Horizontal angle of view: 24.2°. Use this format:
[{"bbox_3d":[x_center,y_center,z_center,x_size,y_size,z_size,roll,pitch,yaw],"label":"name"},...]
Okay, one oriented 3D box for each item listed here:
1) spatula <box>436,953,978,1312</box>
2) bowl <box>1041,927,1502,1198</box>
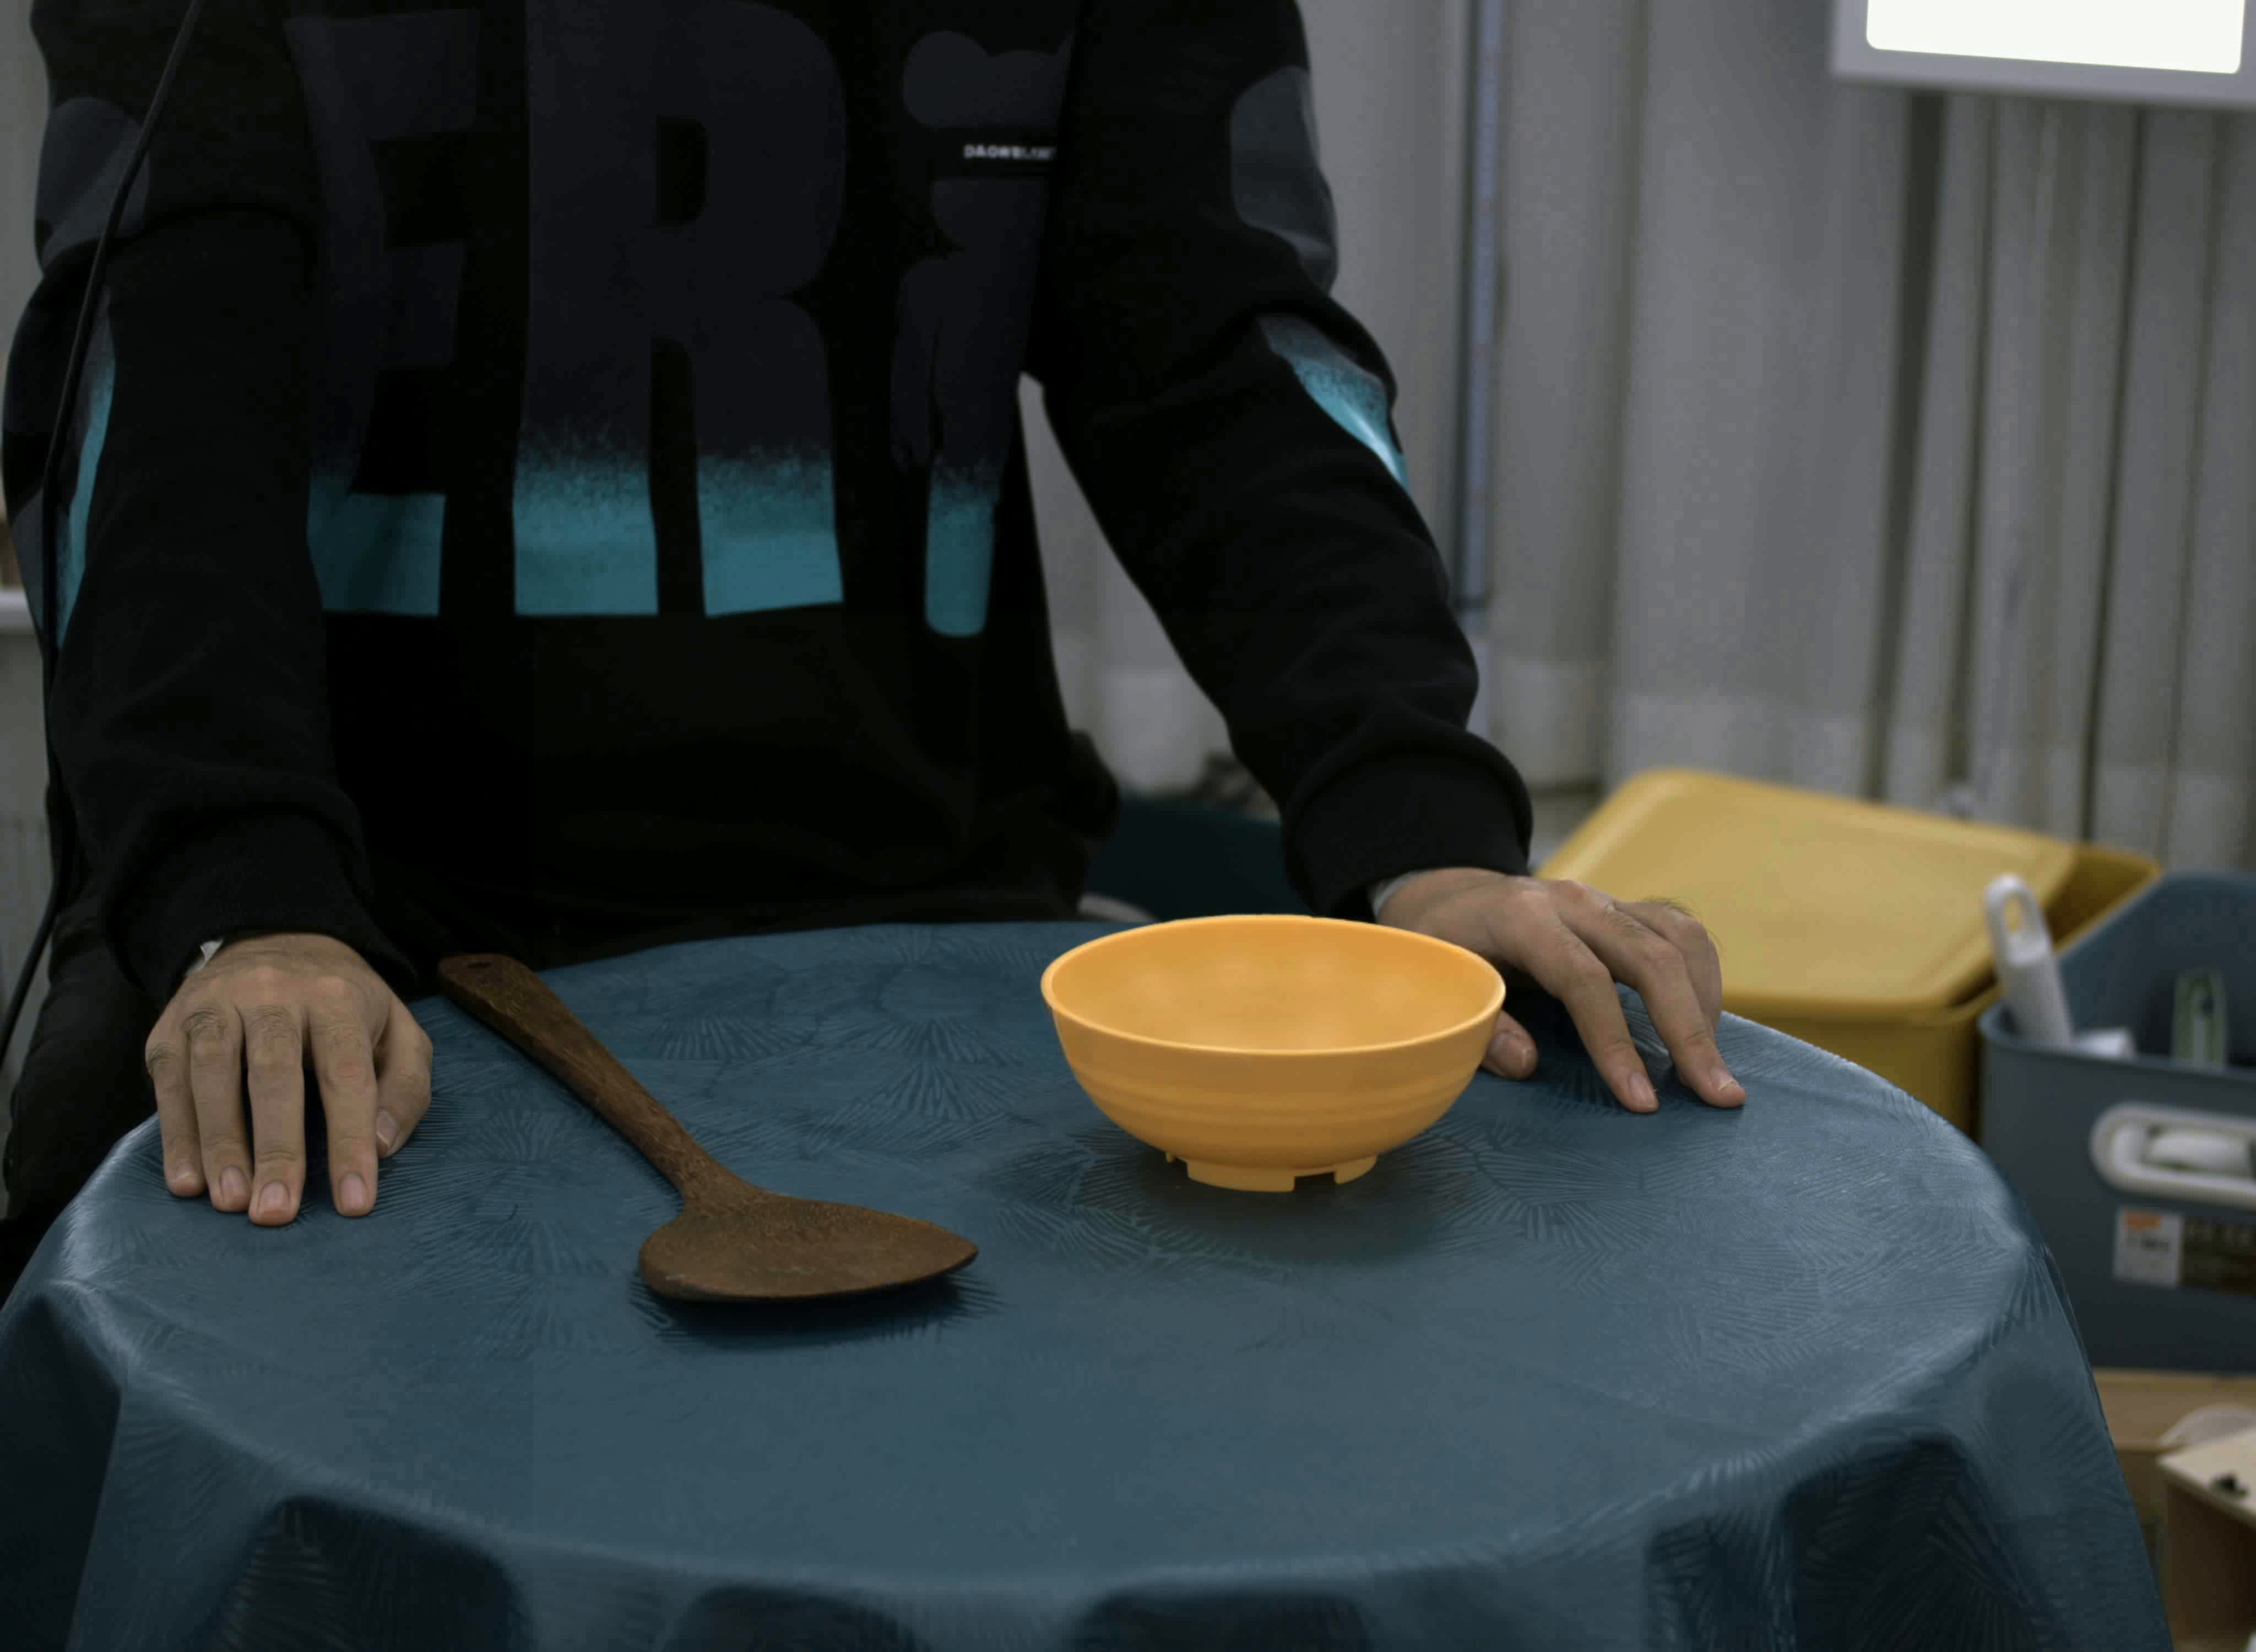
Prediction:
[{"bbox_3d":[-0.156,0.091,1.672,0.096,0.016,0.381,-6,17,-23],"label":"spatula"},{"bbox_3d":[0.044,0.078,1.648,0.145,0.060,0.144,2,14,0],"label":"bowl"}]
